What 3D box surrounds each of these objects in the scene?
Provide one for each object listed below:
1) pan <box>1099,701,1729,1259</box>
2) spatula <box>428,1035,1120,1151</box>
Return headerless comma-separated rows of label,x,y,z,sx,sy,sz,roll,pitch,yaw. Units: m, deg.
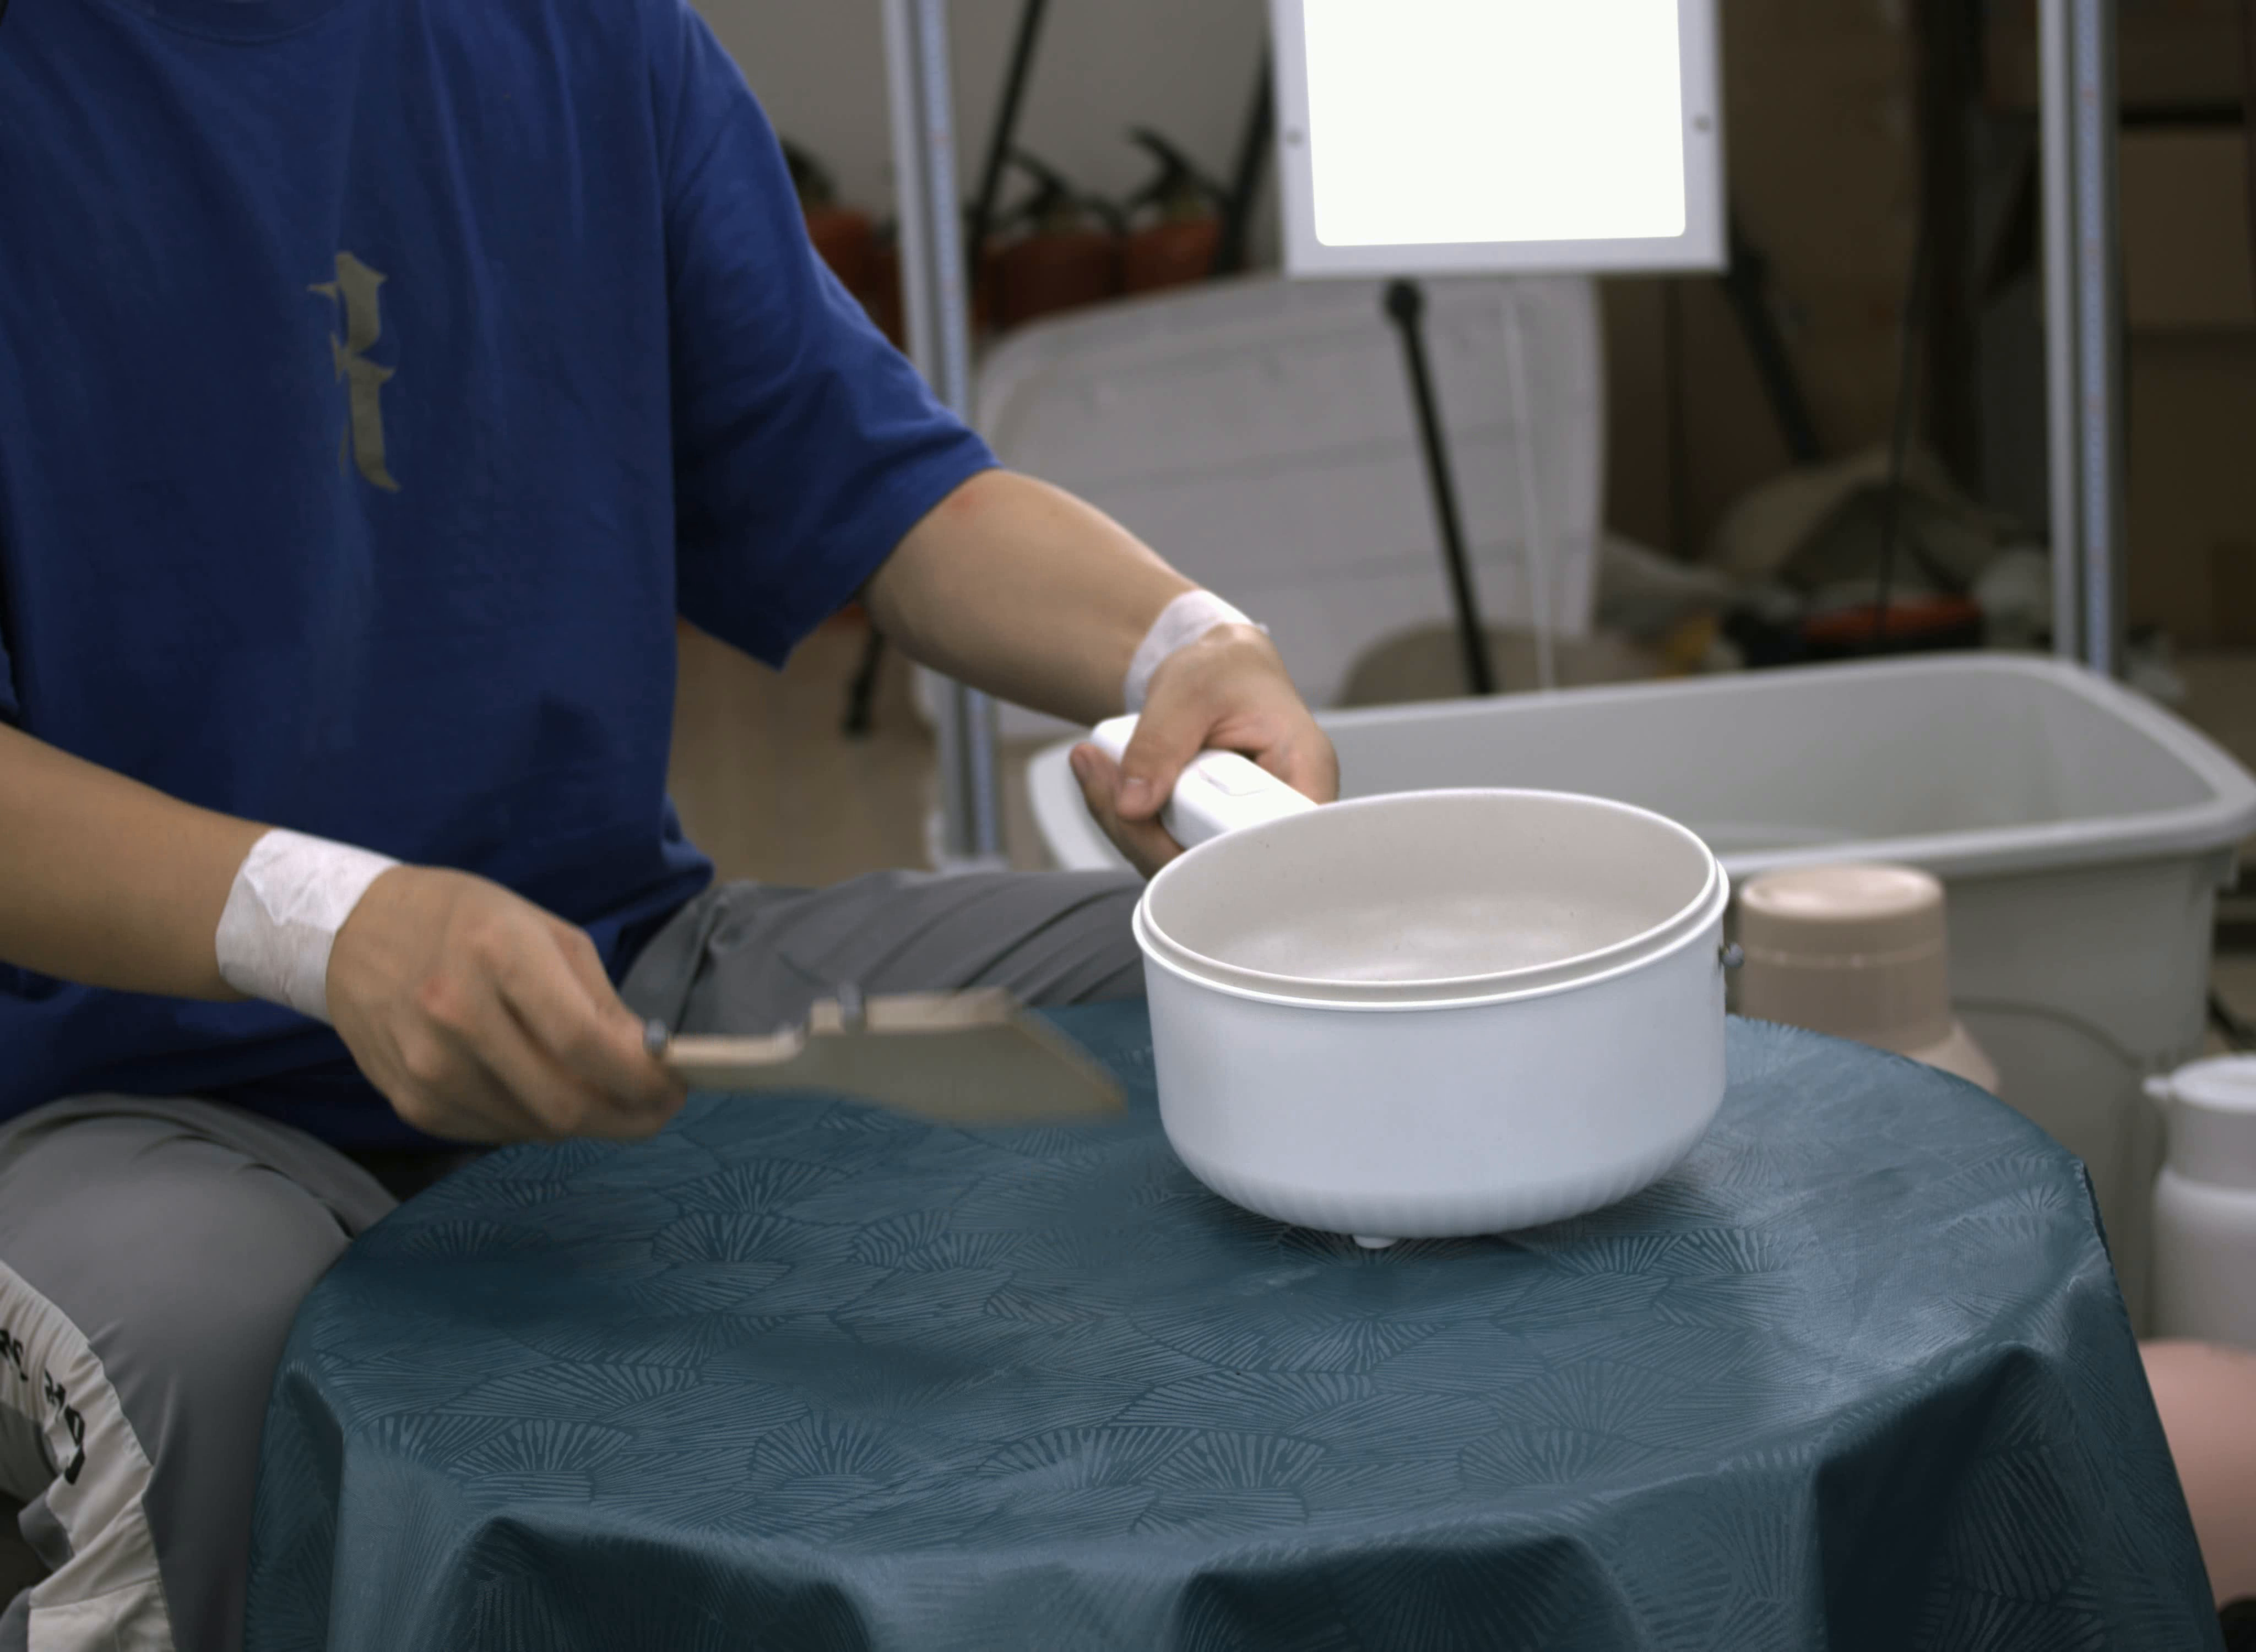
pan,0.076,0.048,1.933,0.198,0.102,0.359,-14,21,-19
spatula,-0.129,0.084,1.812,0.299,0.010,0.071,0,-30,43
